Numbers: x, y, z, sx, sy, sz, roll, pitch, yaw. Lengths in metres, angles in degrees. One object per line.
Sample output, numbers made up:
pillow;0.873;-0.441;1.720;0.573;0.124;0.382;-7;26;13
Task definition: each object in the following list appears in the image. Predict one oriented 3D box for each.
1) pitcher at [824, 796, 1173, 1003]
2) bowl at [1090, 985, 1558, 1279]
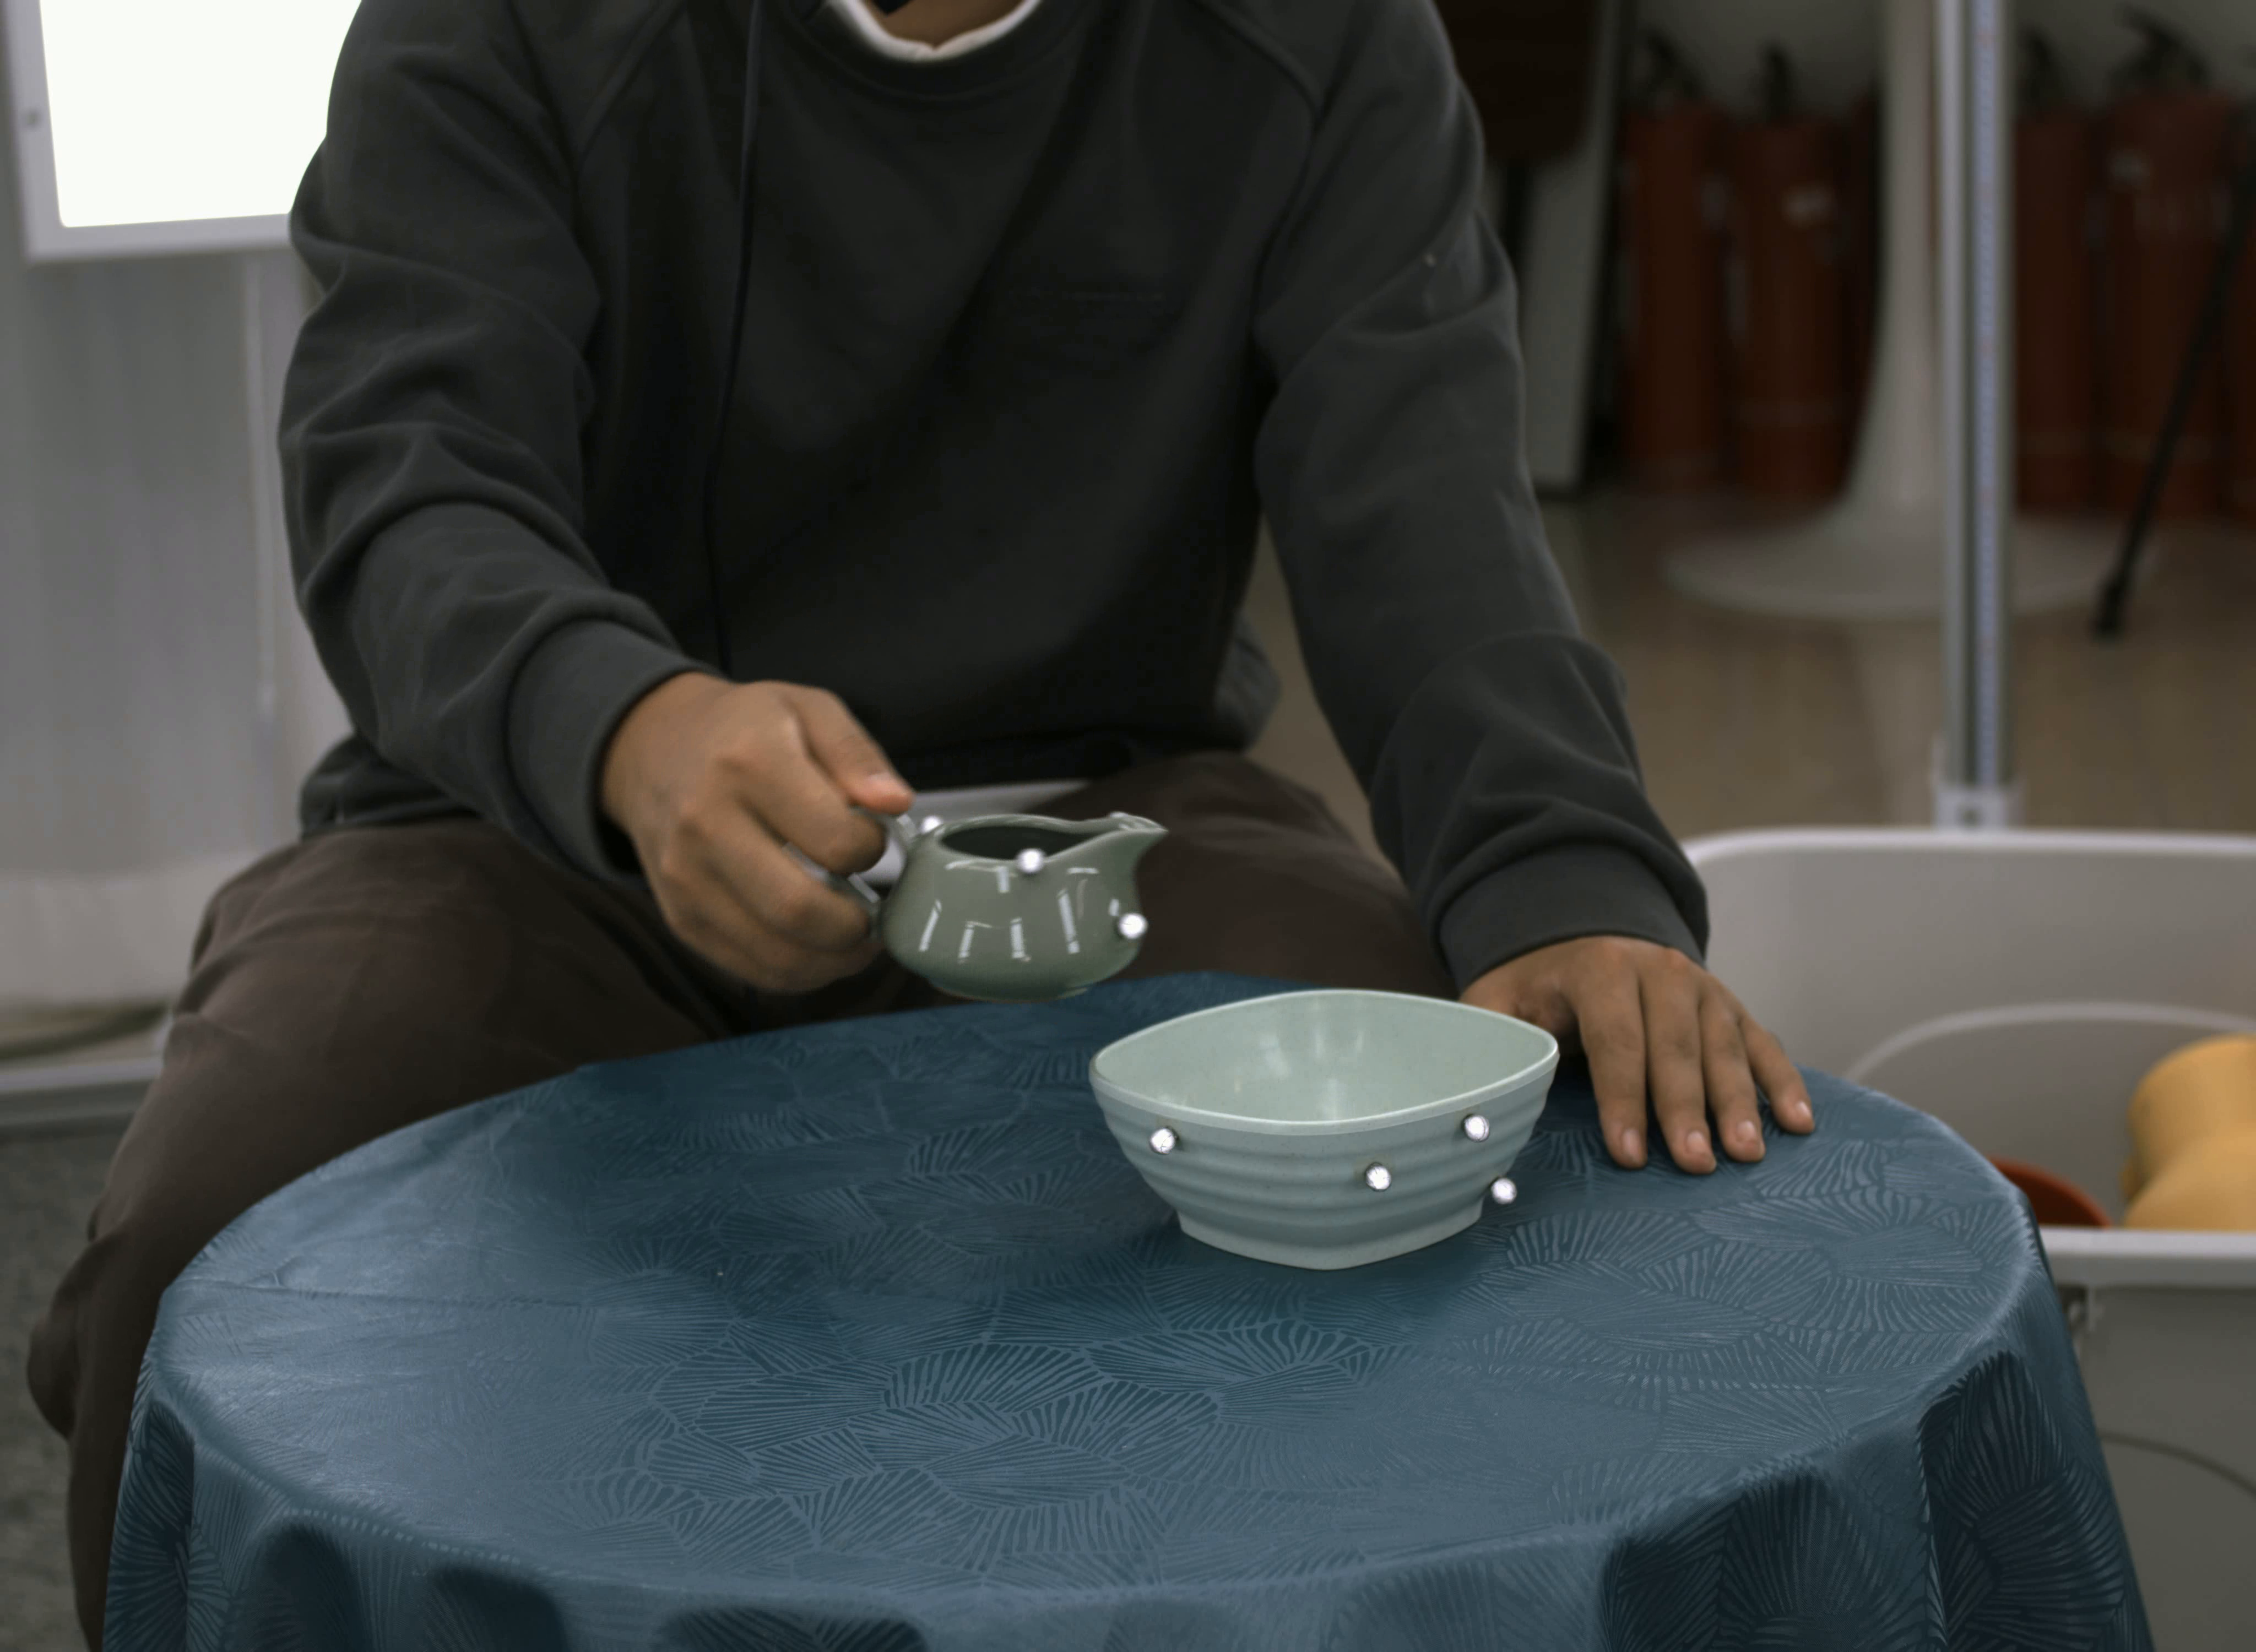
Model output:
pitcher;-0.041;0.021;1.706;0.112;0.057;0.084;4;14;10
bowl;0.064;0.101;1.724;0.149;0.059;0.152;-3;15;0
